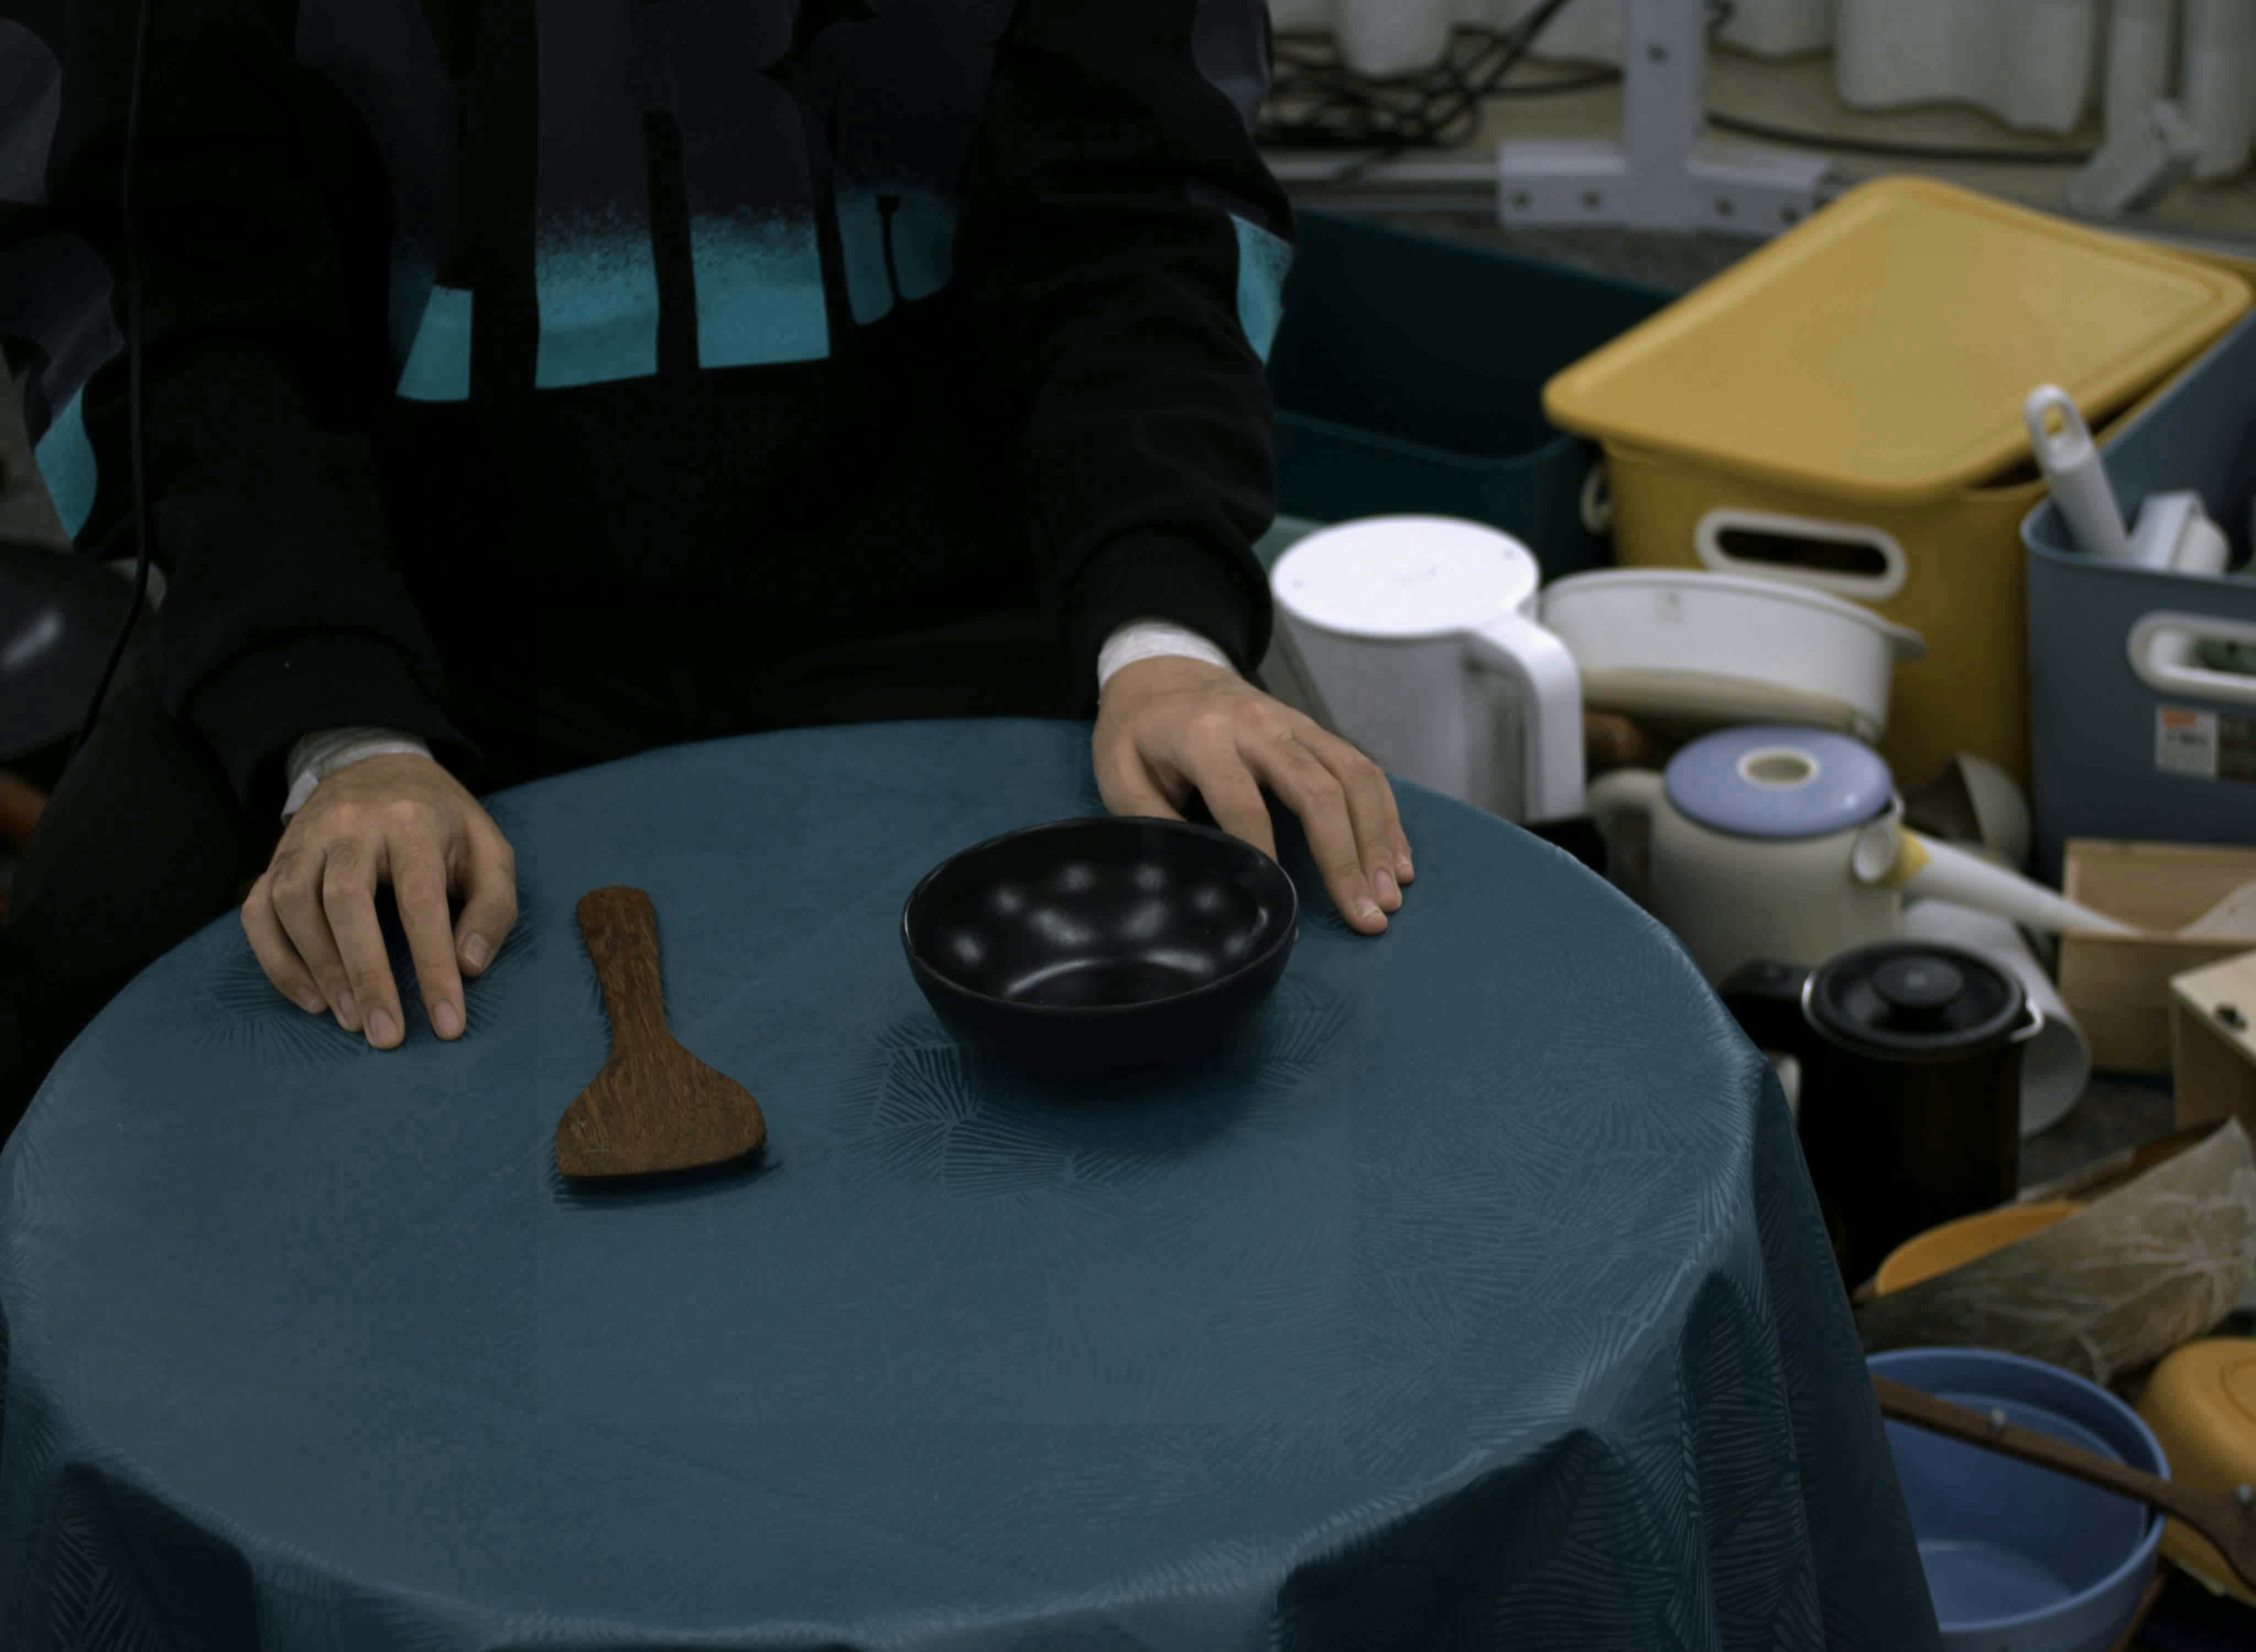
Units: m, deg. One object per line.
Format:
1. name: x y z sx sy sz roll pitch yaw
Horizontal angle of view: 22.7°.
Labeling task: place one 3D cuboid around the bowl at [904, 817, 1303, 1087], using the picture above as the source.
1. bowl: -0.006 0.051 1.947 0.139 0.049 0.142 -5 27 3

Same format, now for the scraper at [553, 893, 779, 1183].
1. scraper: -0.170 0.073 1.964 0.075 0.011 0.214 -6 27 -8
